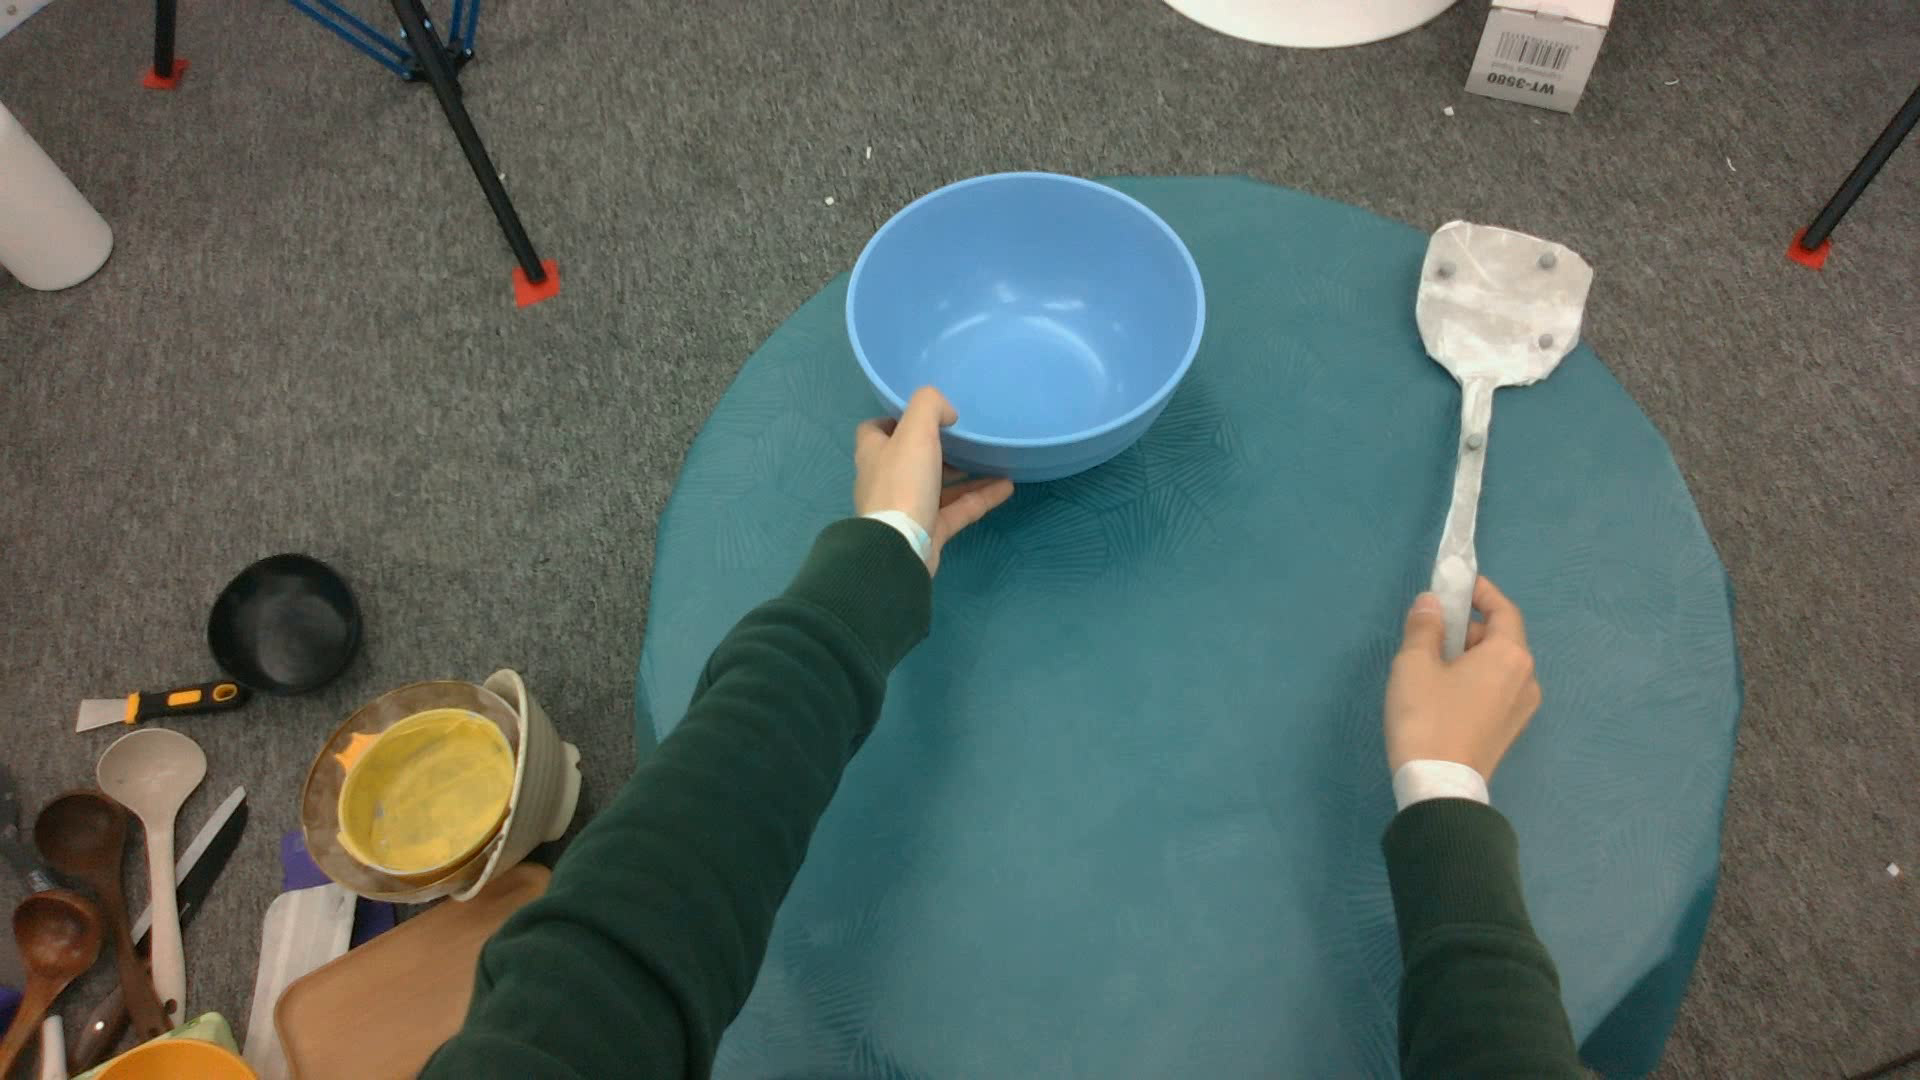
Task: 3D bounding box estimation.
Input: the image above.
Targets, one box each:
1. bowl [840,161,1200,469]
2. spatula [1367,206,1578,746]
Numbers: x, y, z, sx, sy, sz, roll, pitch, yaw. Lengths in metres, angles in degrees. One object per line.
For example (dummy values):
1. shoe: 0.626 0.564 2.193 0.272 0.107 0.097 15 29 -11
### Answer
1. bowl: 0.033 -0.114 0.788 0.196 0.095 0.197 0 57 0
2. spatula: 0.274 -0.047 0.765 0.098 0.044 0.366 19 57 6
